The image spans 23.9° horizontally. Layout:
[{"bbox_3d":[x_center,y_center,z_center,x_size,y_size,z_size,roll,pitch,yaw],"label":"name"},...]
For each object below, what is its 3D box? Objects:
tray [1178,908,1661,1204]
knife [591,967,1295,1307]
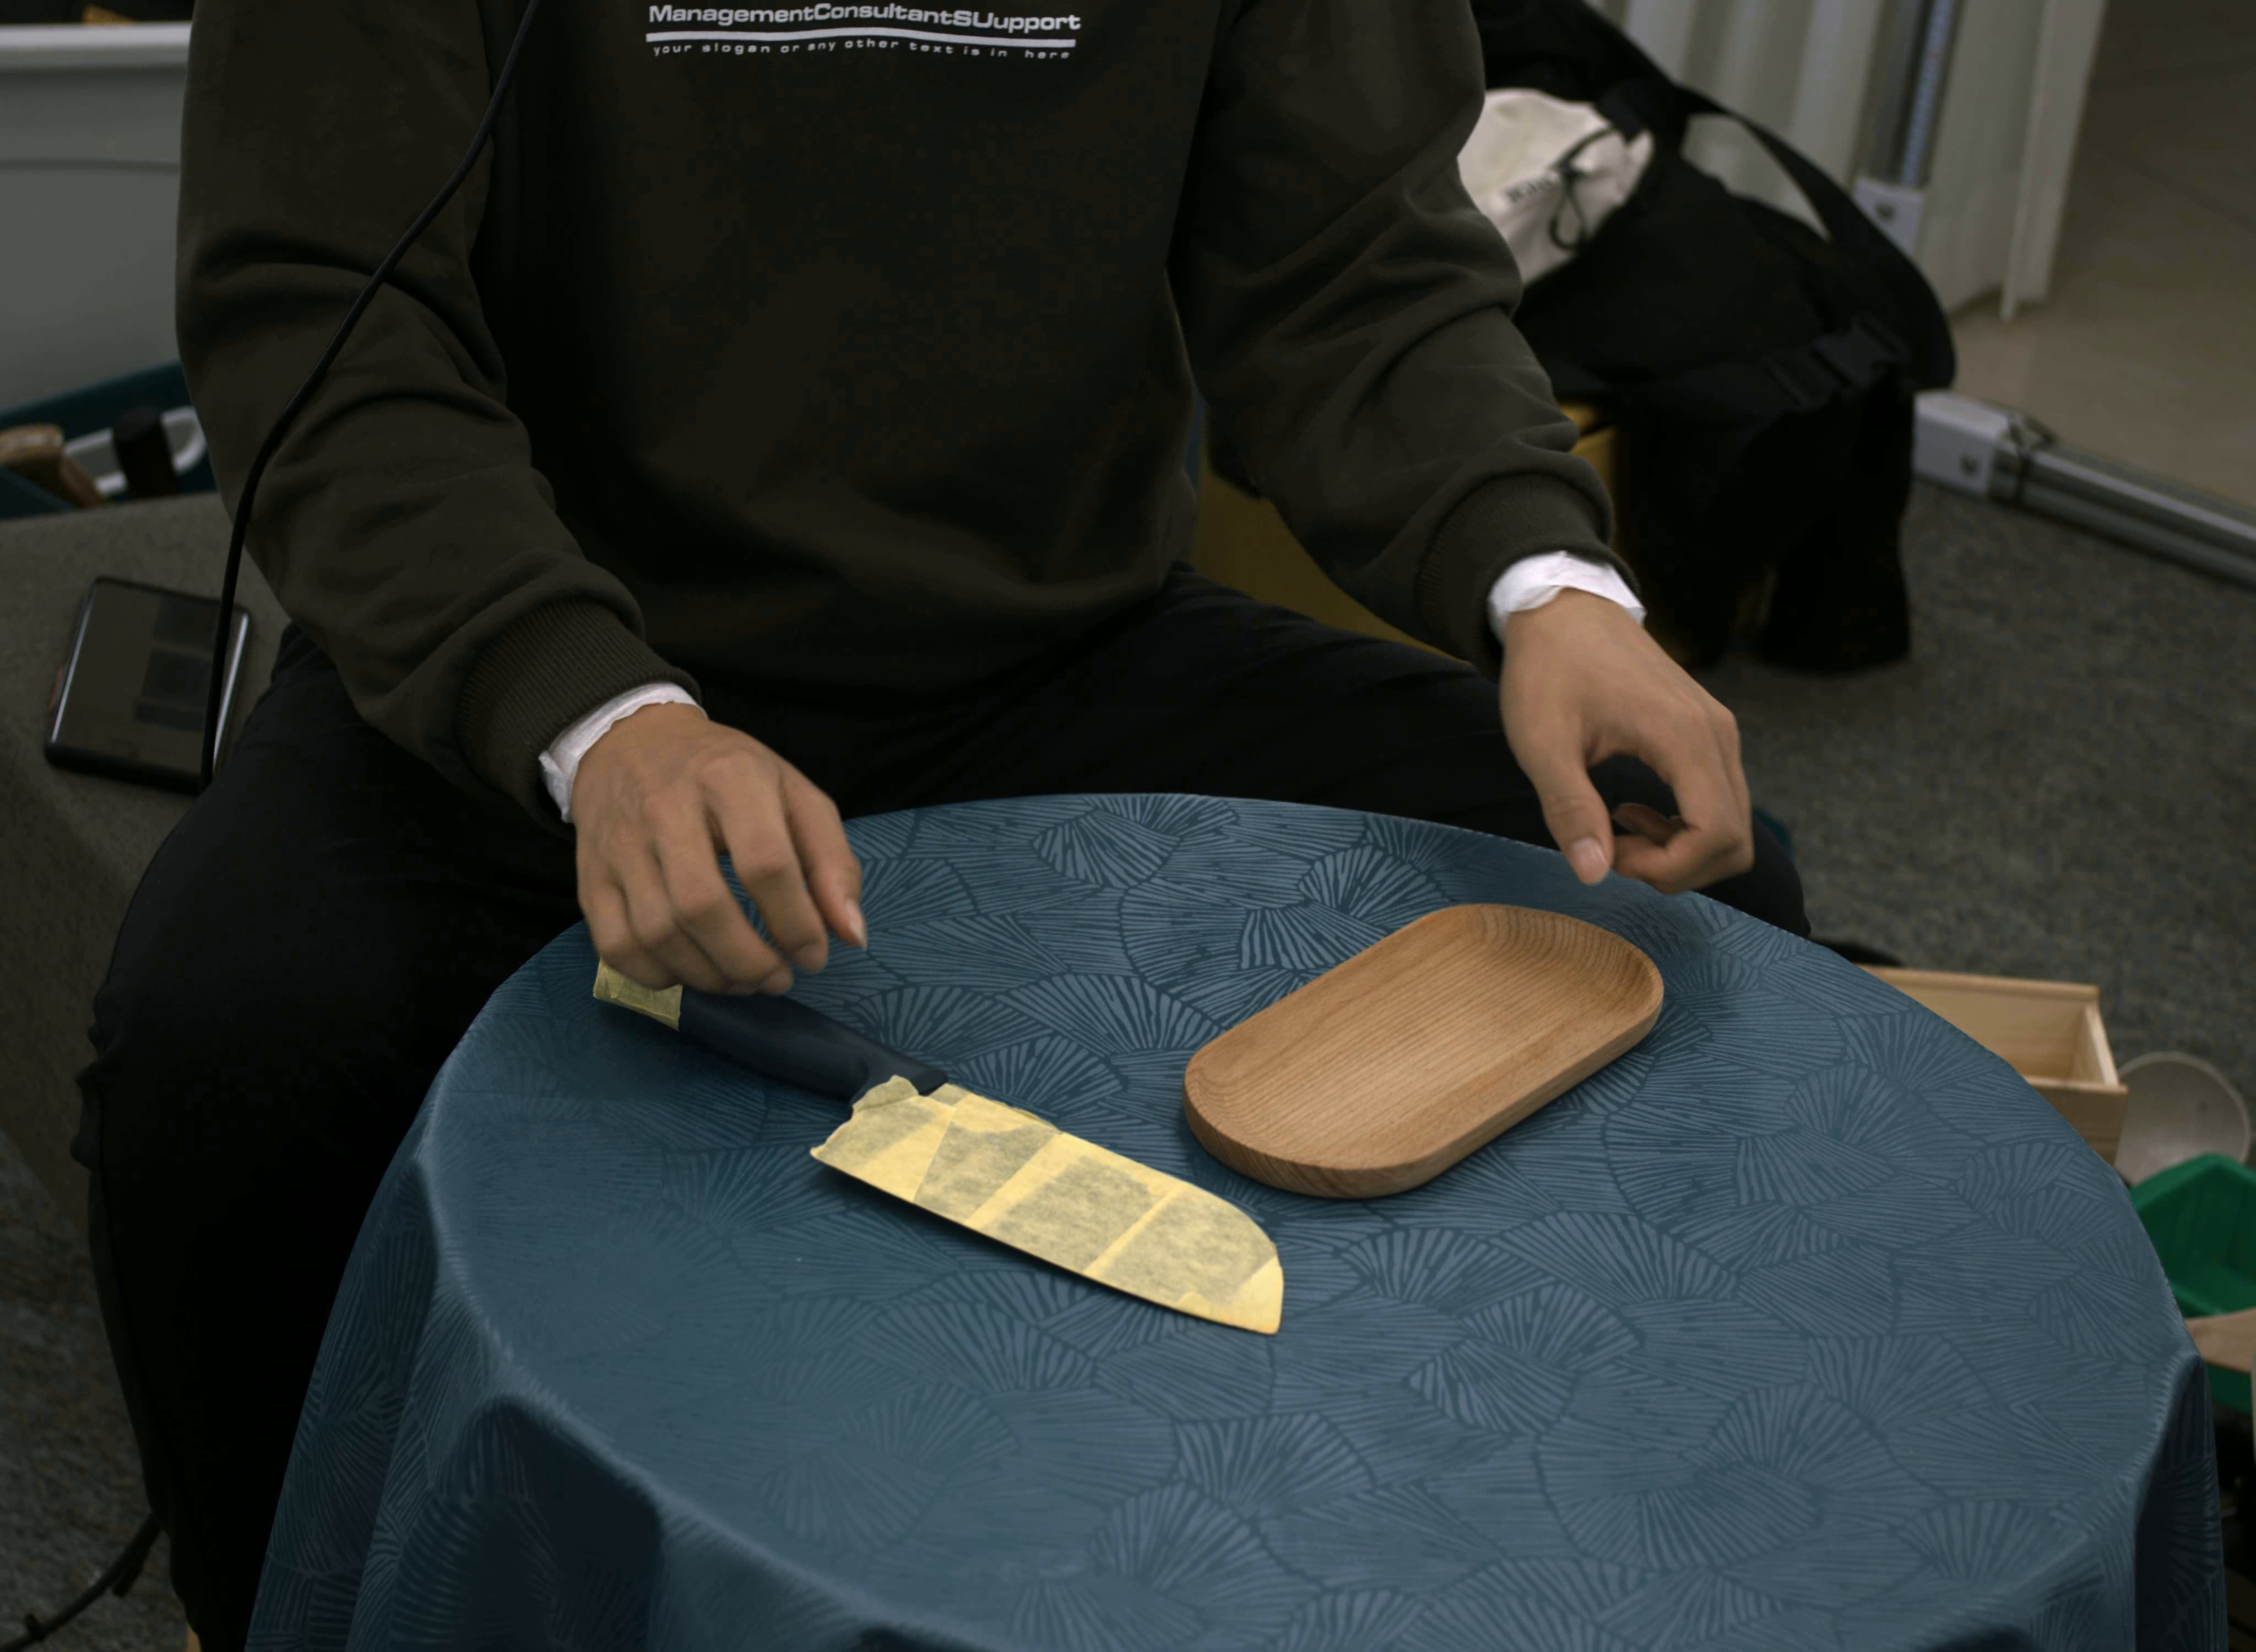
[{"bbox_3d":[0.106,0.081,1.897,0.102,0.020,0.230,22,32,30],"label":"tray"},{"bbox_3d":[-0.069,0.107,1.807,0.291,0.027,0.081,21,28,25],"label":"knife"}]
